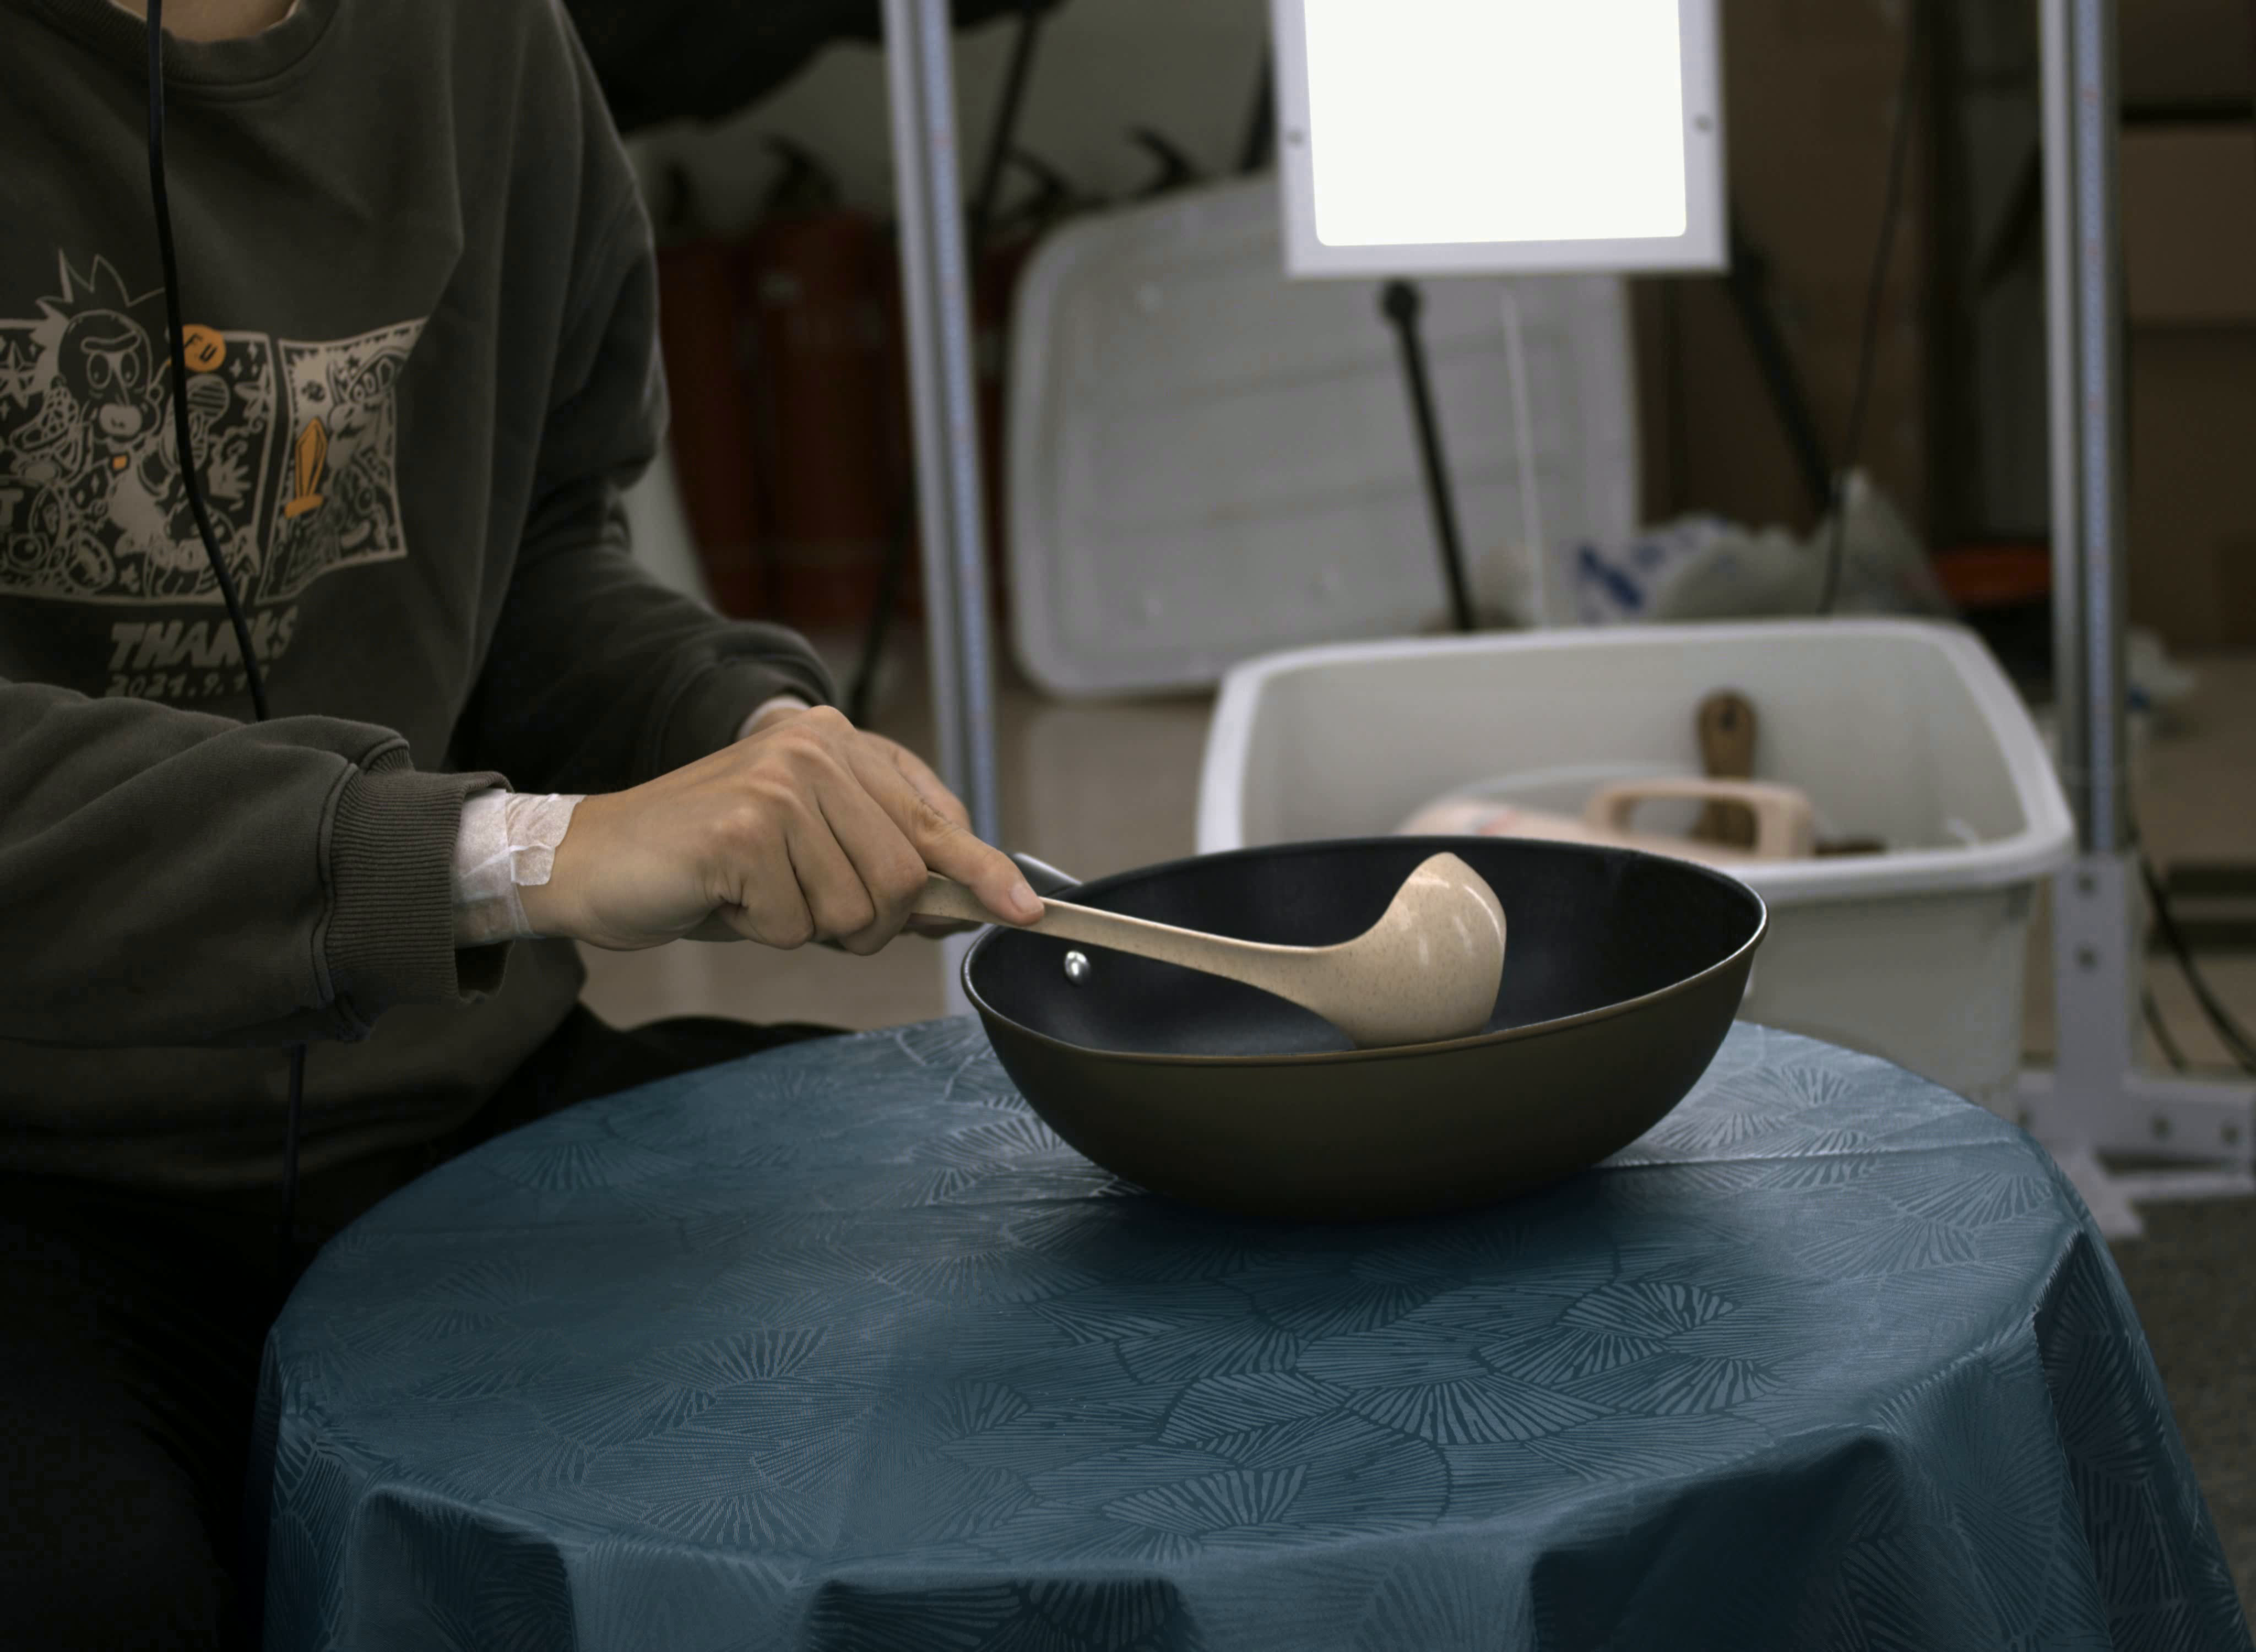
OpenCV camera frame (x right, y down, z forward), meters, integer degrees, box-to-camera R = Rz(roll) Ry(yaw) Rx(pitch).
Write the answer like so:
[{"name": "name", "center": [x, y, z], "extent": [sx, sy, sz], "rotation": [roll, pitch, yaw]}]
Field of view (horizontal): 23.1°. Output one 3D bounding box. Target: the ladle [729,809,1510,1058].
[{"name": "ladle", "center": [-0.001, 0.016, 1.788], "extent": [0.254, 0.073, 0.072], "rotation": [16, 34, 0]}]

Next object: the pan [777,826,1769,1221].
[{"name": "pan", "center": [0.021, 0.064, 1.968], "extent": [0.281, 0.087, 0.473], "rotation": [-17, 17, -39]}]
